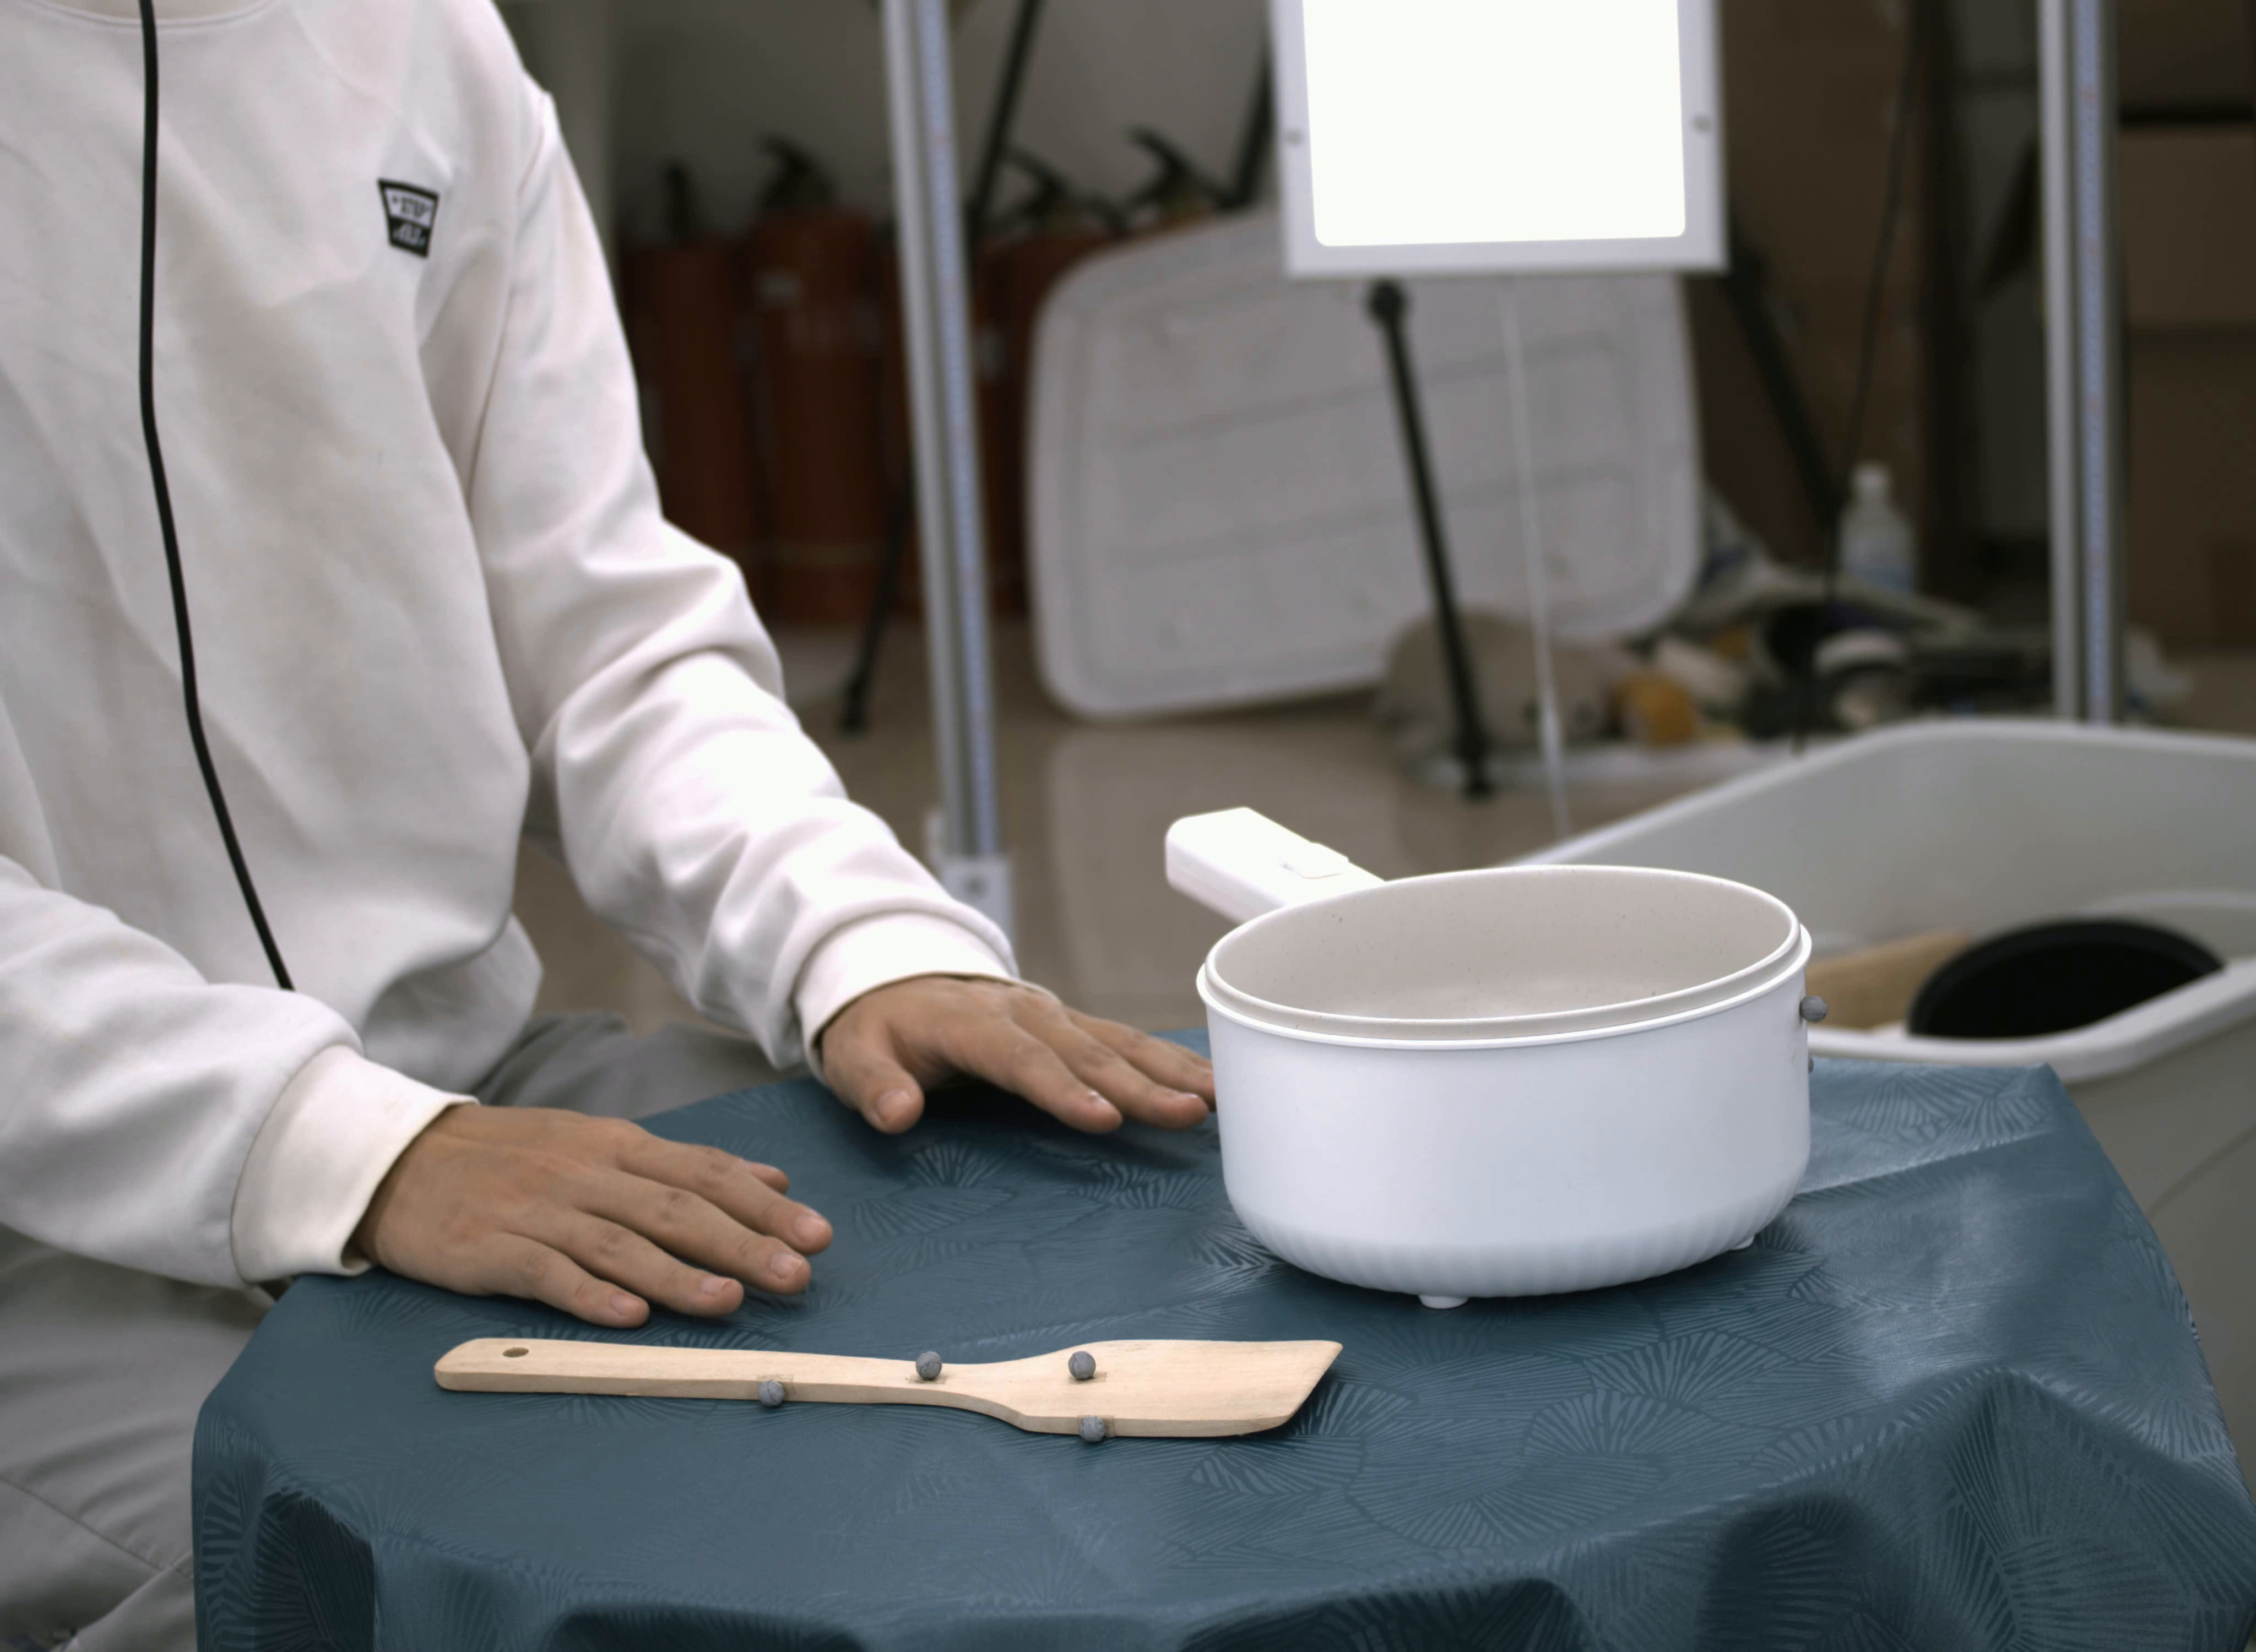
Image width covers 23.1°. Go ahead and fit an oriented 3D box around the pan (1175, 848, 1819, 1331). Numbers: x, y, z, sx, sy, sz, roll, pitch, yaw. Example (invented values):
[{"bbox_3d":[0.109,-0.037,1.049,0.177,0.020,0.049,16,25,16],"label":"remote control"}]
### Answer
[{"bbox_3d":[0.101,0.081,1.878,0.198,0.102,0.359,-14,13,-18],"label":"pan"}]
